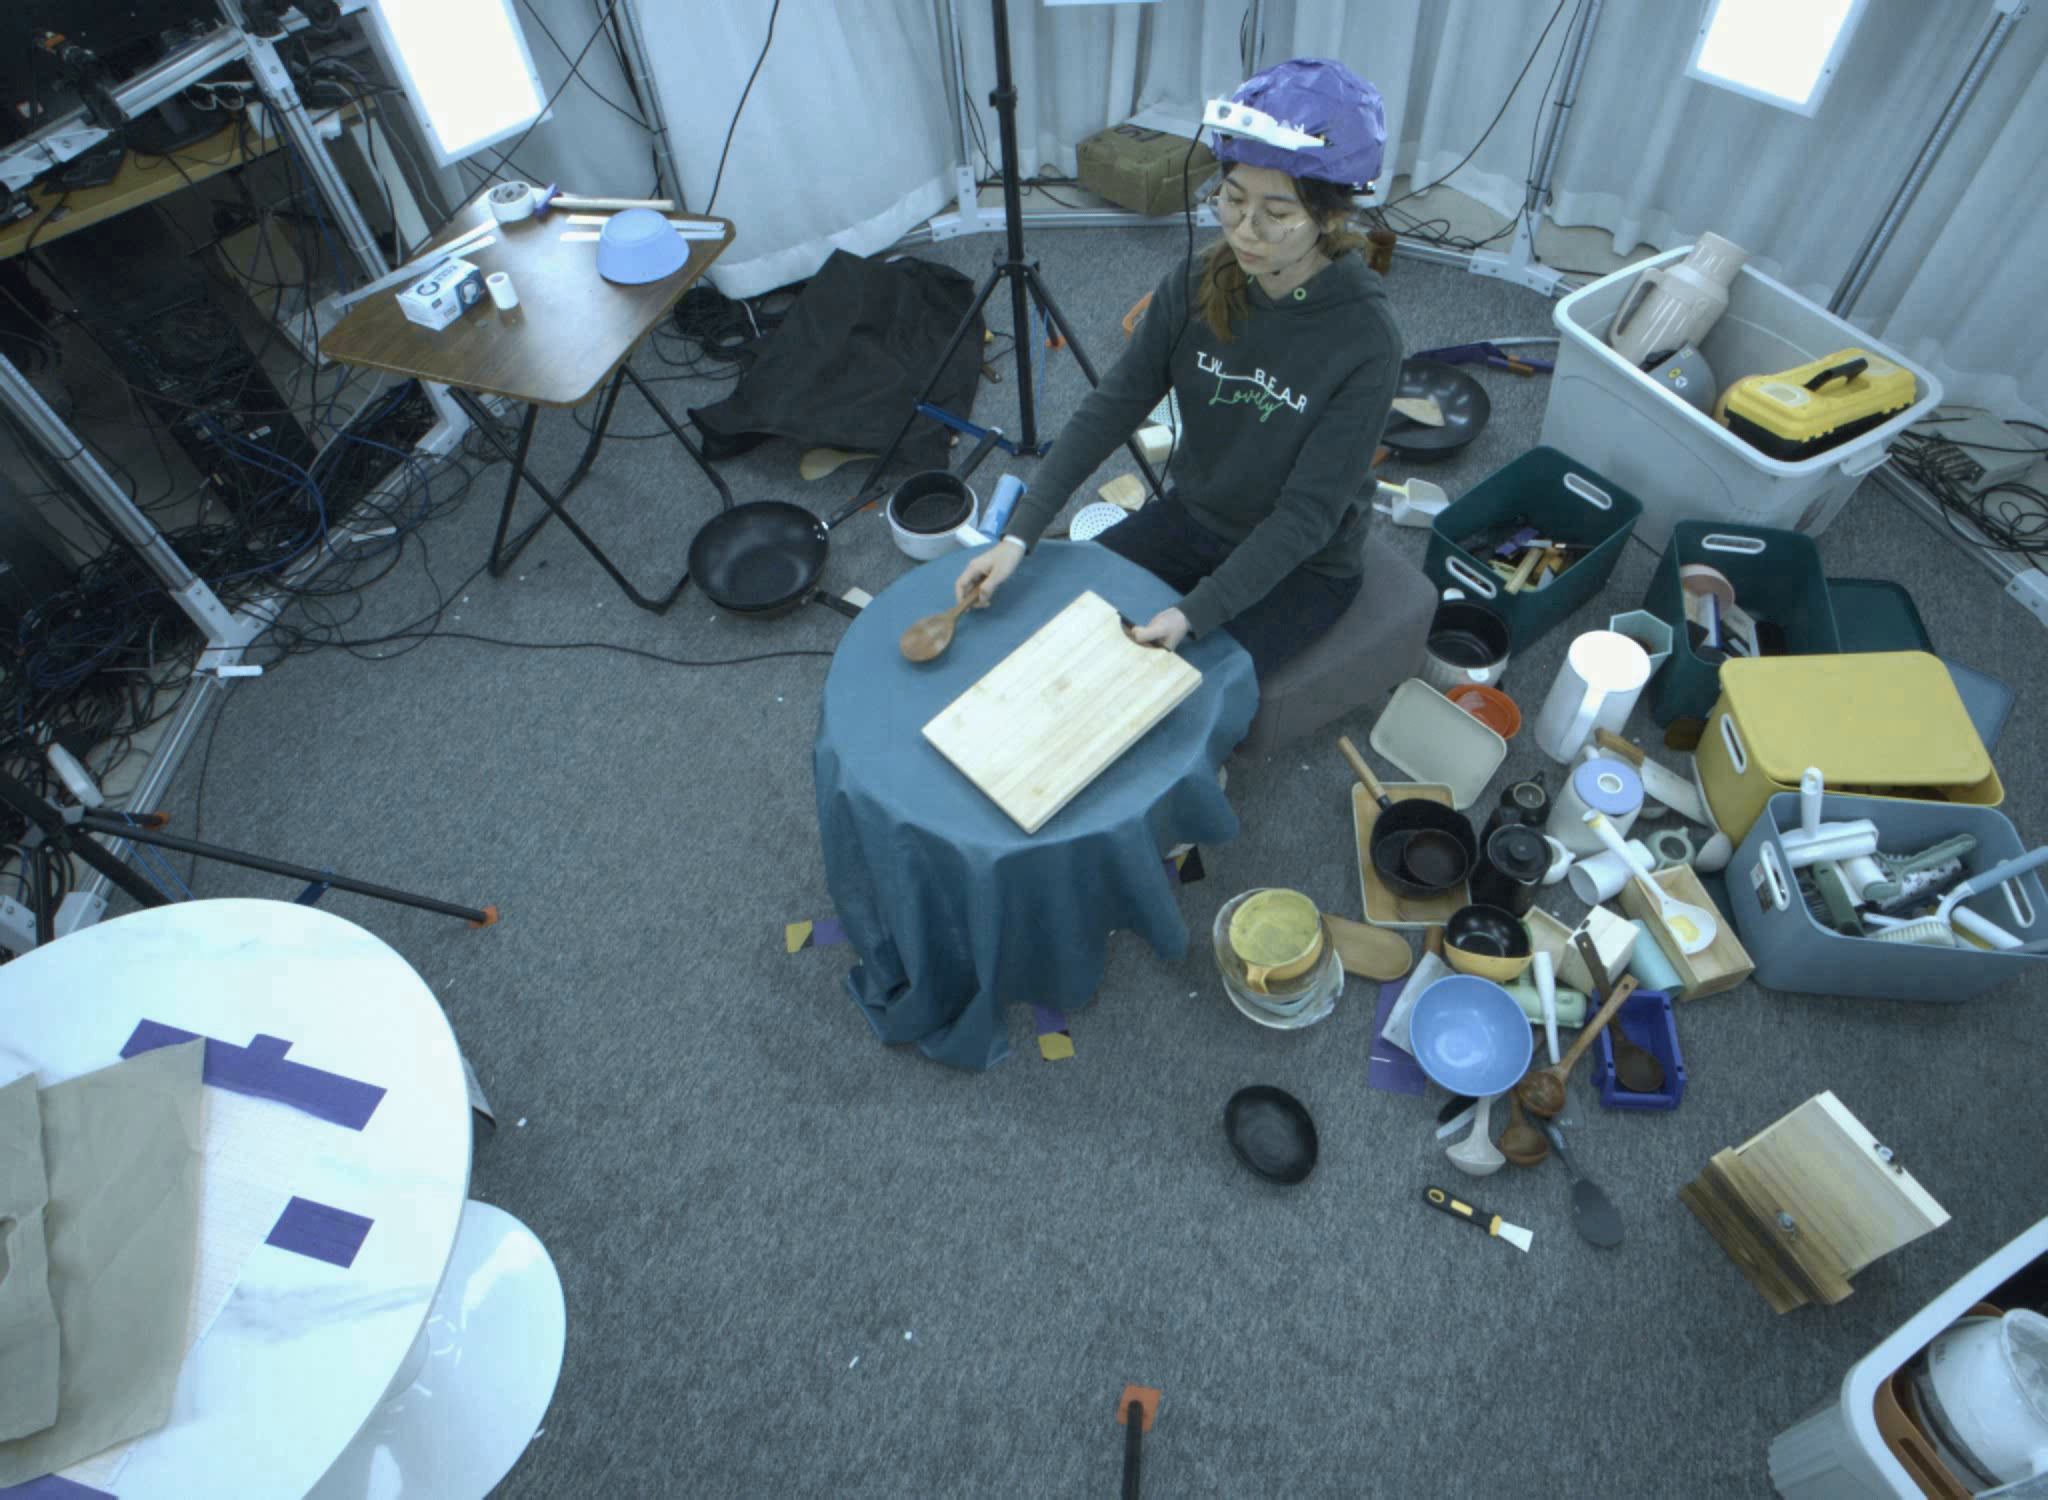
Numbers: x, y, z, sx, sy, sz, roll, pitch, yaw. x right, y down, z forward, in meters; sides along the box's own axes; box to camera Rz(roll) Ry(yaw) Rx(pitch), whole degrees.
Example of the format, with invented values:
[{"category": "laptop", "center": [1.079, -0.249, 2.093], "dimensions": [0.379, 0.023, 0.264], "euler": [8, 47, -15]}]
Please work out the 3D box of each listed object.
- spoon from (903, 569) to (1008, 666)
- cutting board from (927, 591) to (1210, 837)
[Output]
[{"category": "spoon", "center": [-0.103, -0.207, 1.910], "dimensions": [0.074, 0.017, 0.216], "euler": [36, 72, 26]}, {"category": "cutting board", "center": [0.061, -0.061, 1.789], "dimensions": [0.350, 0.024, 0.246], "euler": [-42, 63, -14]}]
